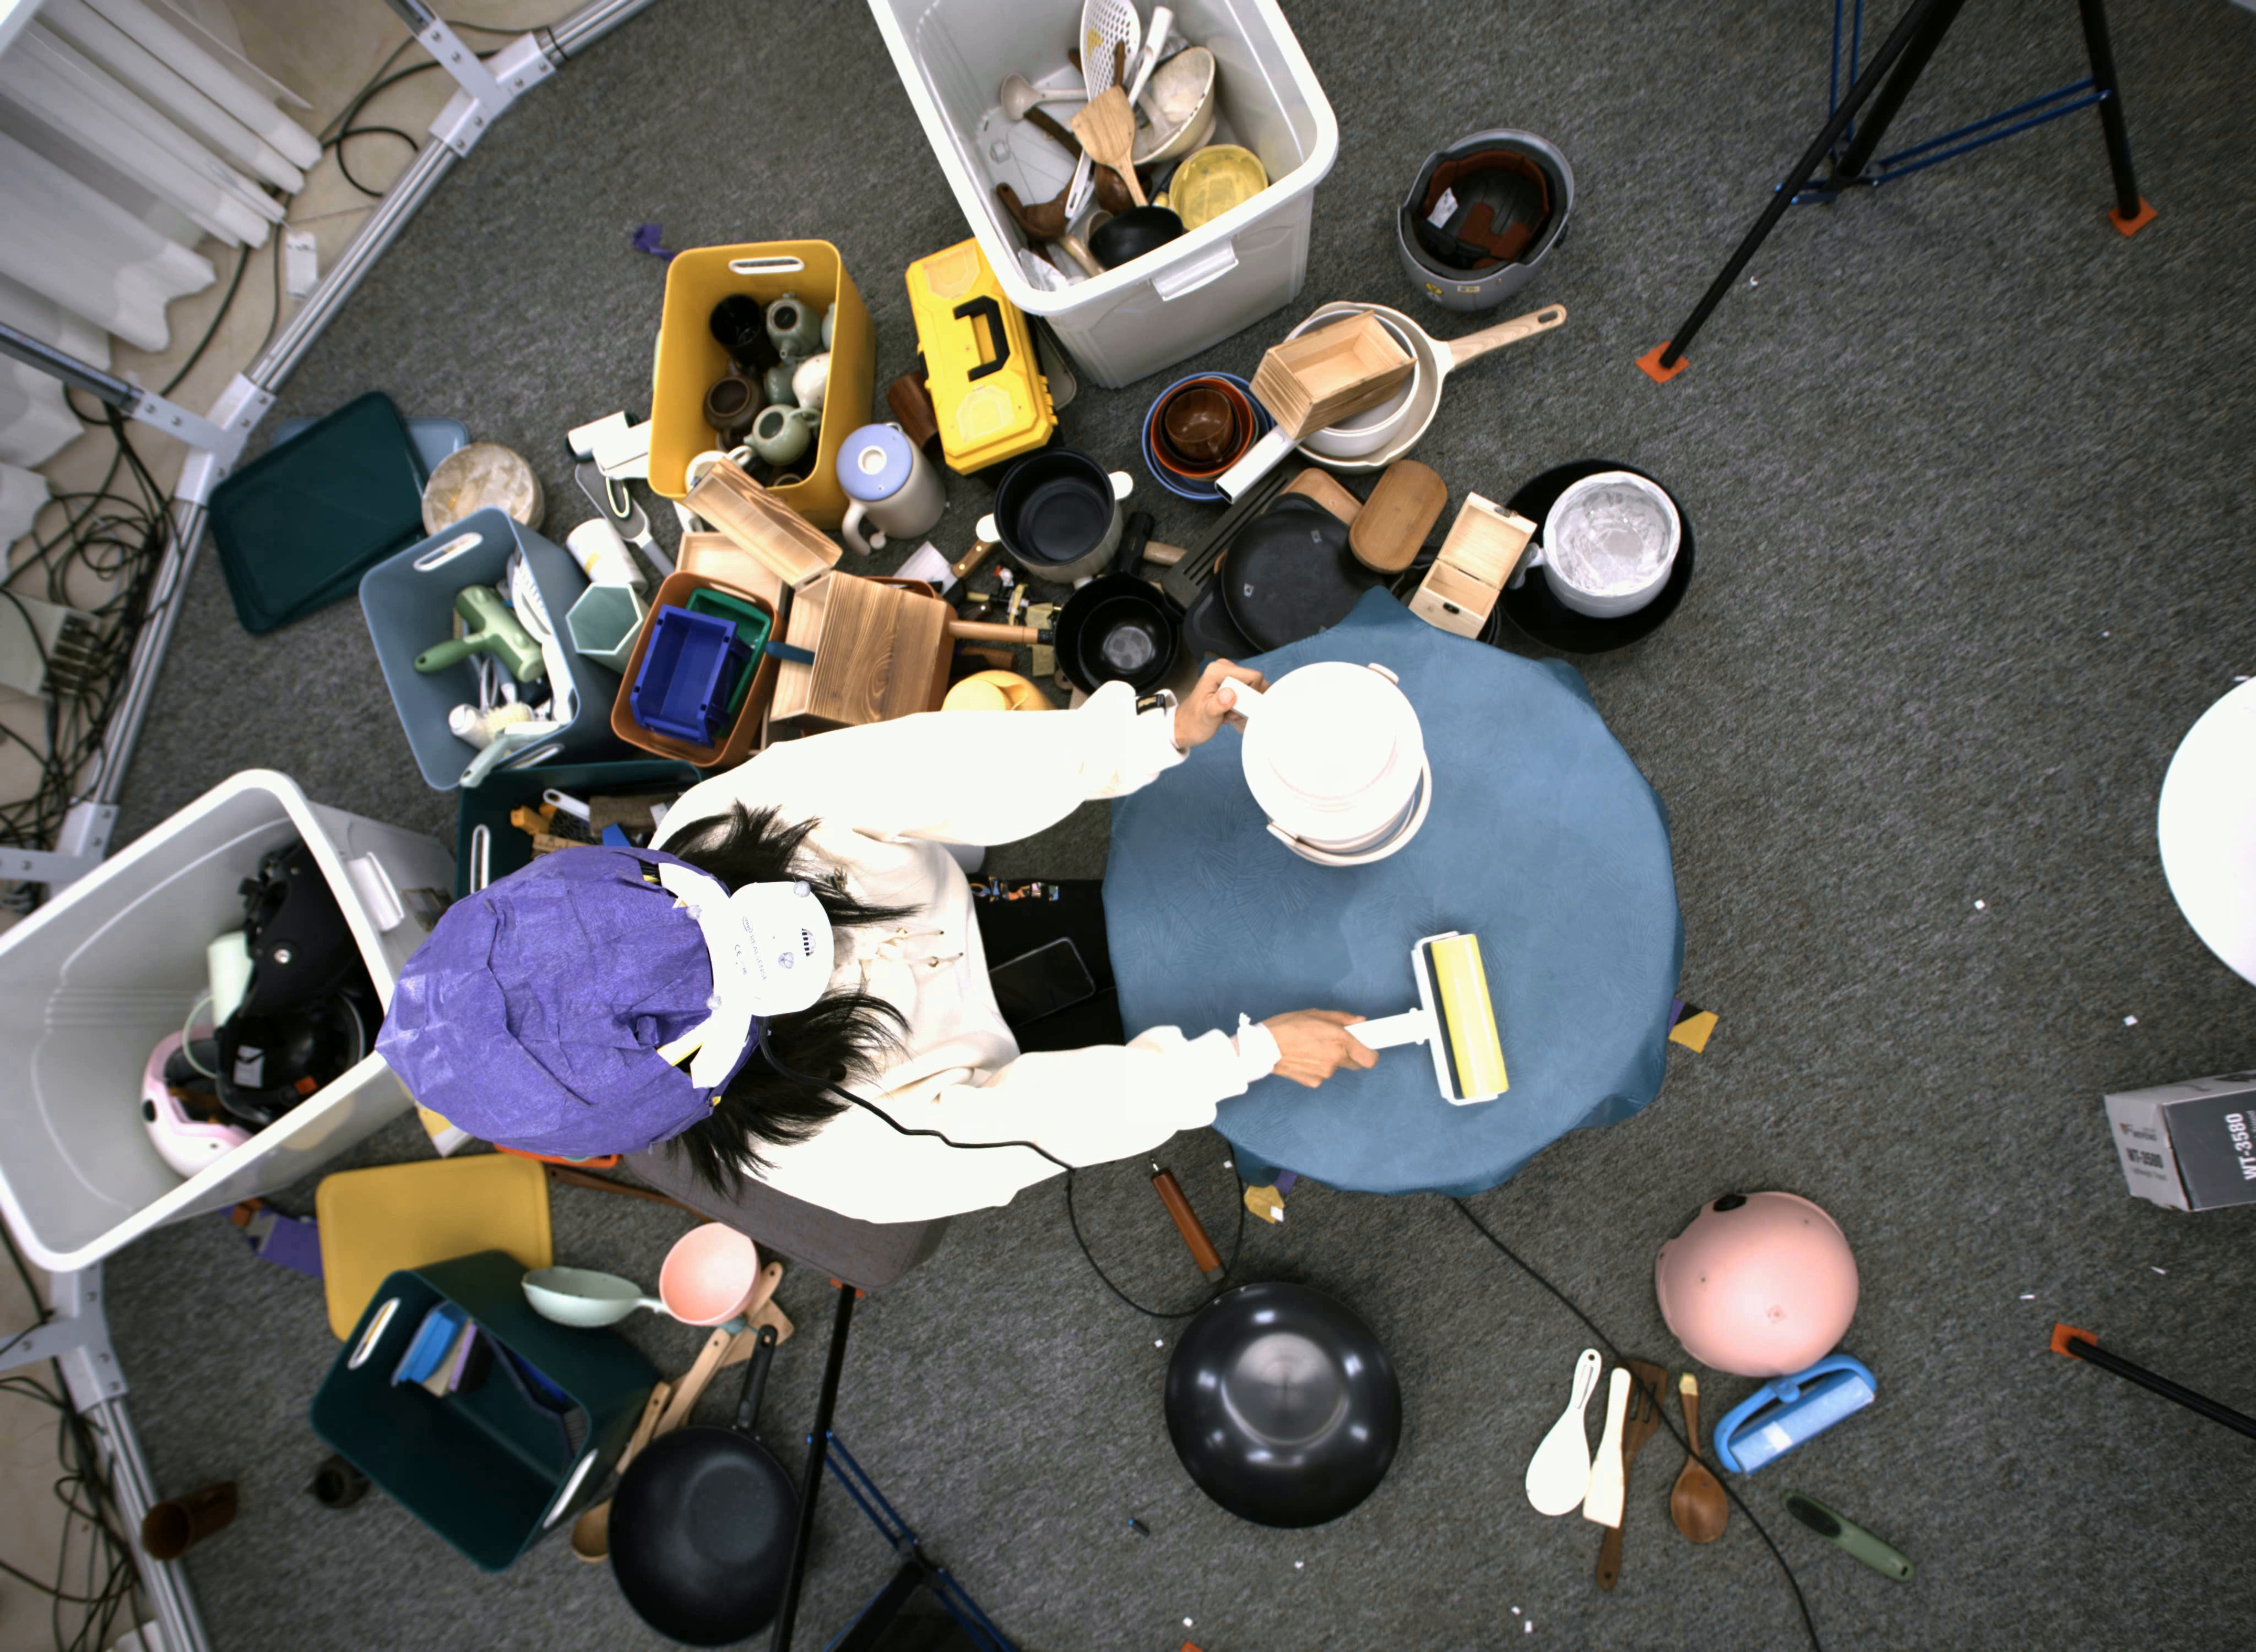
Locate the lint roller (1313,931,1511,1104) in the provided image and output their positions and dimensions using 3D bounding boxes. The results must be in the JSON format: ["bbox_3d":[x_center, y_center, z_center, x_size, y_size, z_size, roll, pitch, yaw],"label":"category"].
[{"bbox_3d":[0.283,0.205,1.399,0.191,0.052,0.173,-11,86,-15],"label":"lint roller"}]

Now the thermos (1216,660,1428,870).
[{"bbox_3d":[0.182,-0.064,1.283,0.206,0.407,0.175,32,91,12],"label":"thermos"}]
